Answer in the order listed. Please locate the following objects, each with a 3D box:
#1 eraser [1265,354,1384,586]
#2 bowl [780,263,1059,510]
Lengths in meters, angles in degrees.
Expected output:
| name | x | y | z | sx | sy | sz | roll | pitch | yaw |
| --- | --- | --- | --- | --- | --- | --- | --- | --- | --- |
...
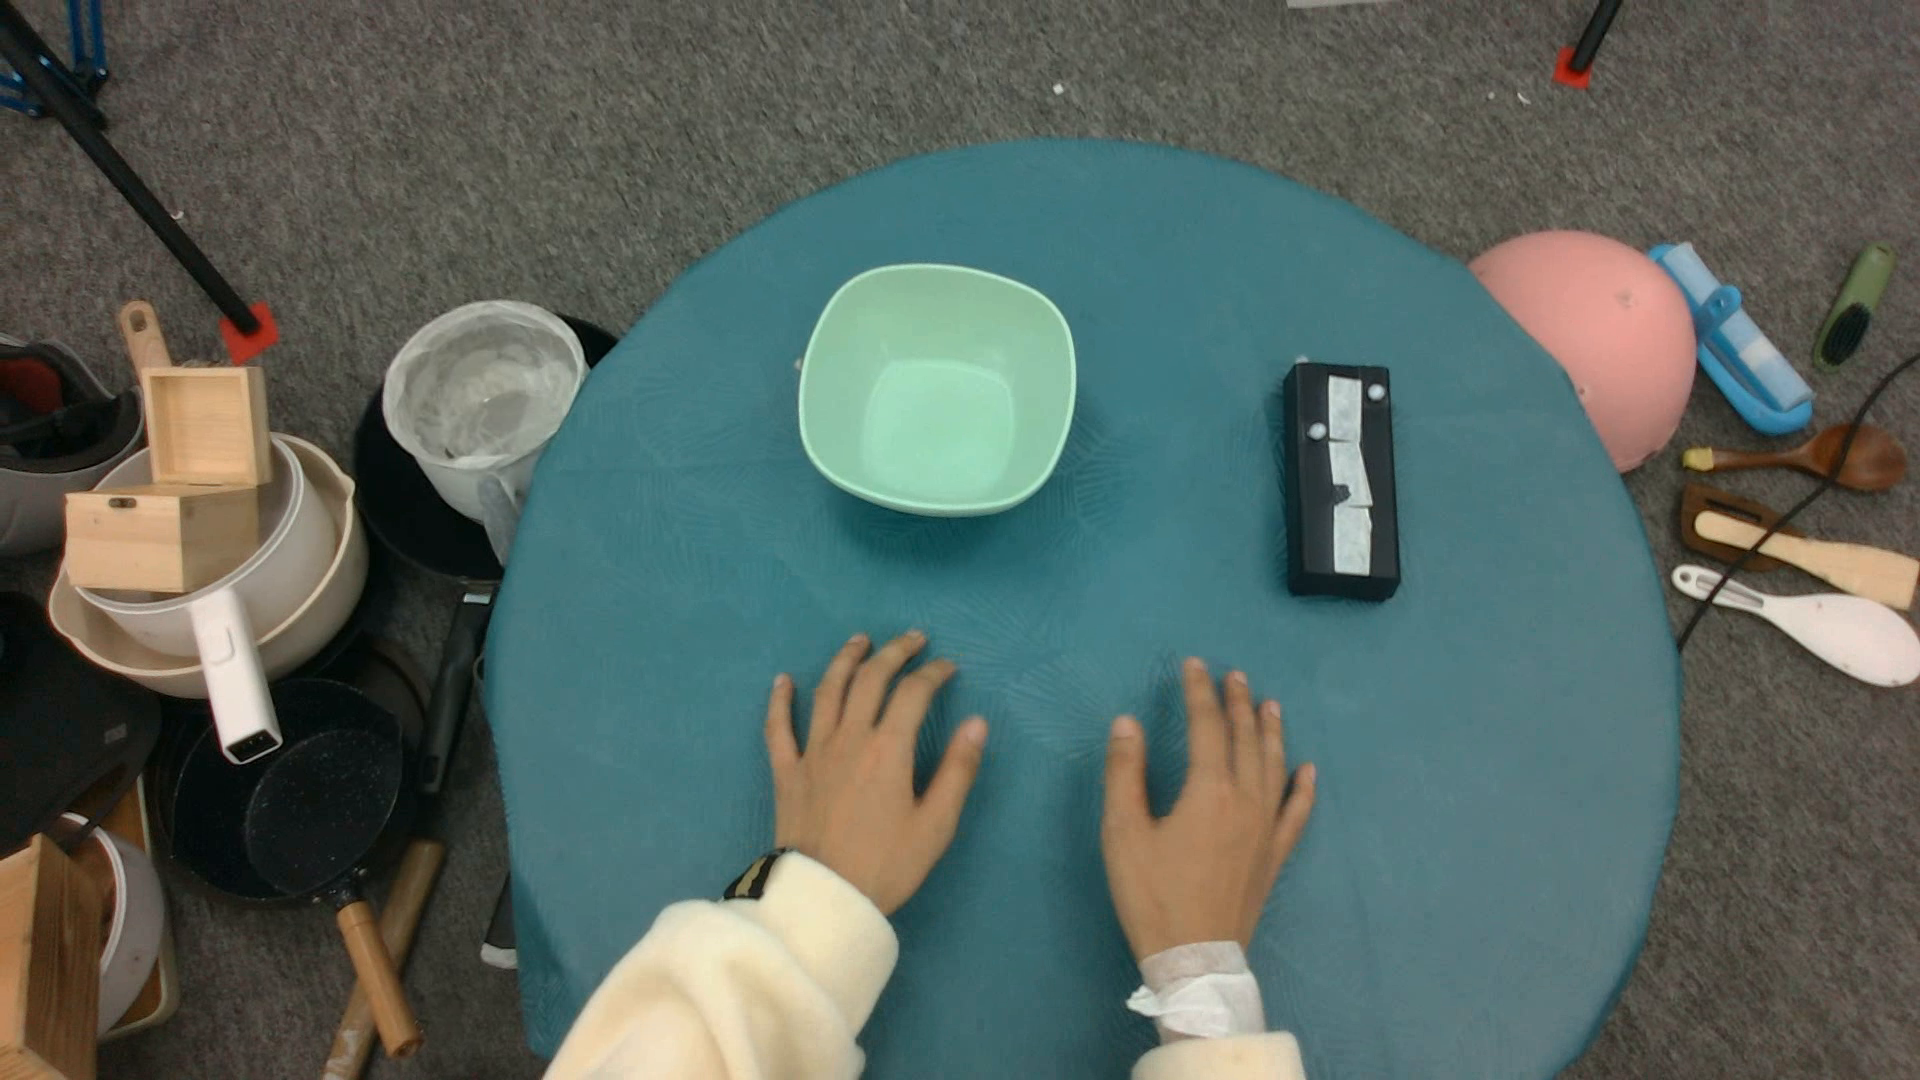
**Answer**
| name | x | y | z | sx | sy | sz | roll | pitch | yaw |
| --- | --- | --- | --- | --- | --- | --- | --- | --- | --- |
| eraser | 0.190 | -0.038 | 0.725 | 0.053 | 0.030 | 0.126 | 2 | 69 | 1 |
| bowl | -0.019 | -0.071 | 0.716 | 0.151 | 0.058 | 0.152 | 0 | 66 | 1 |
